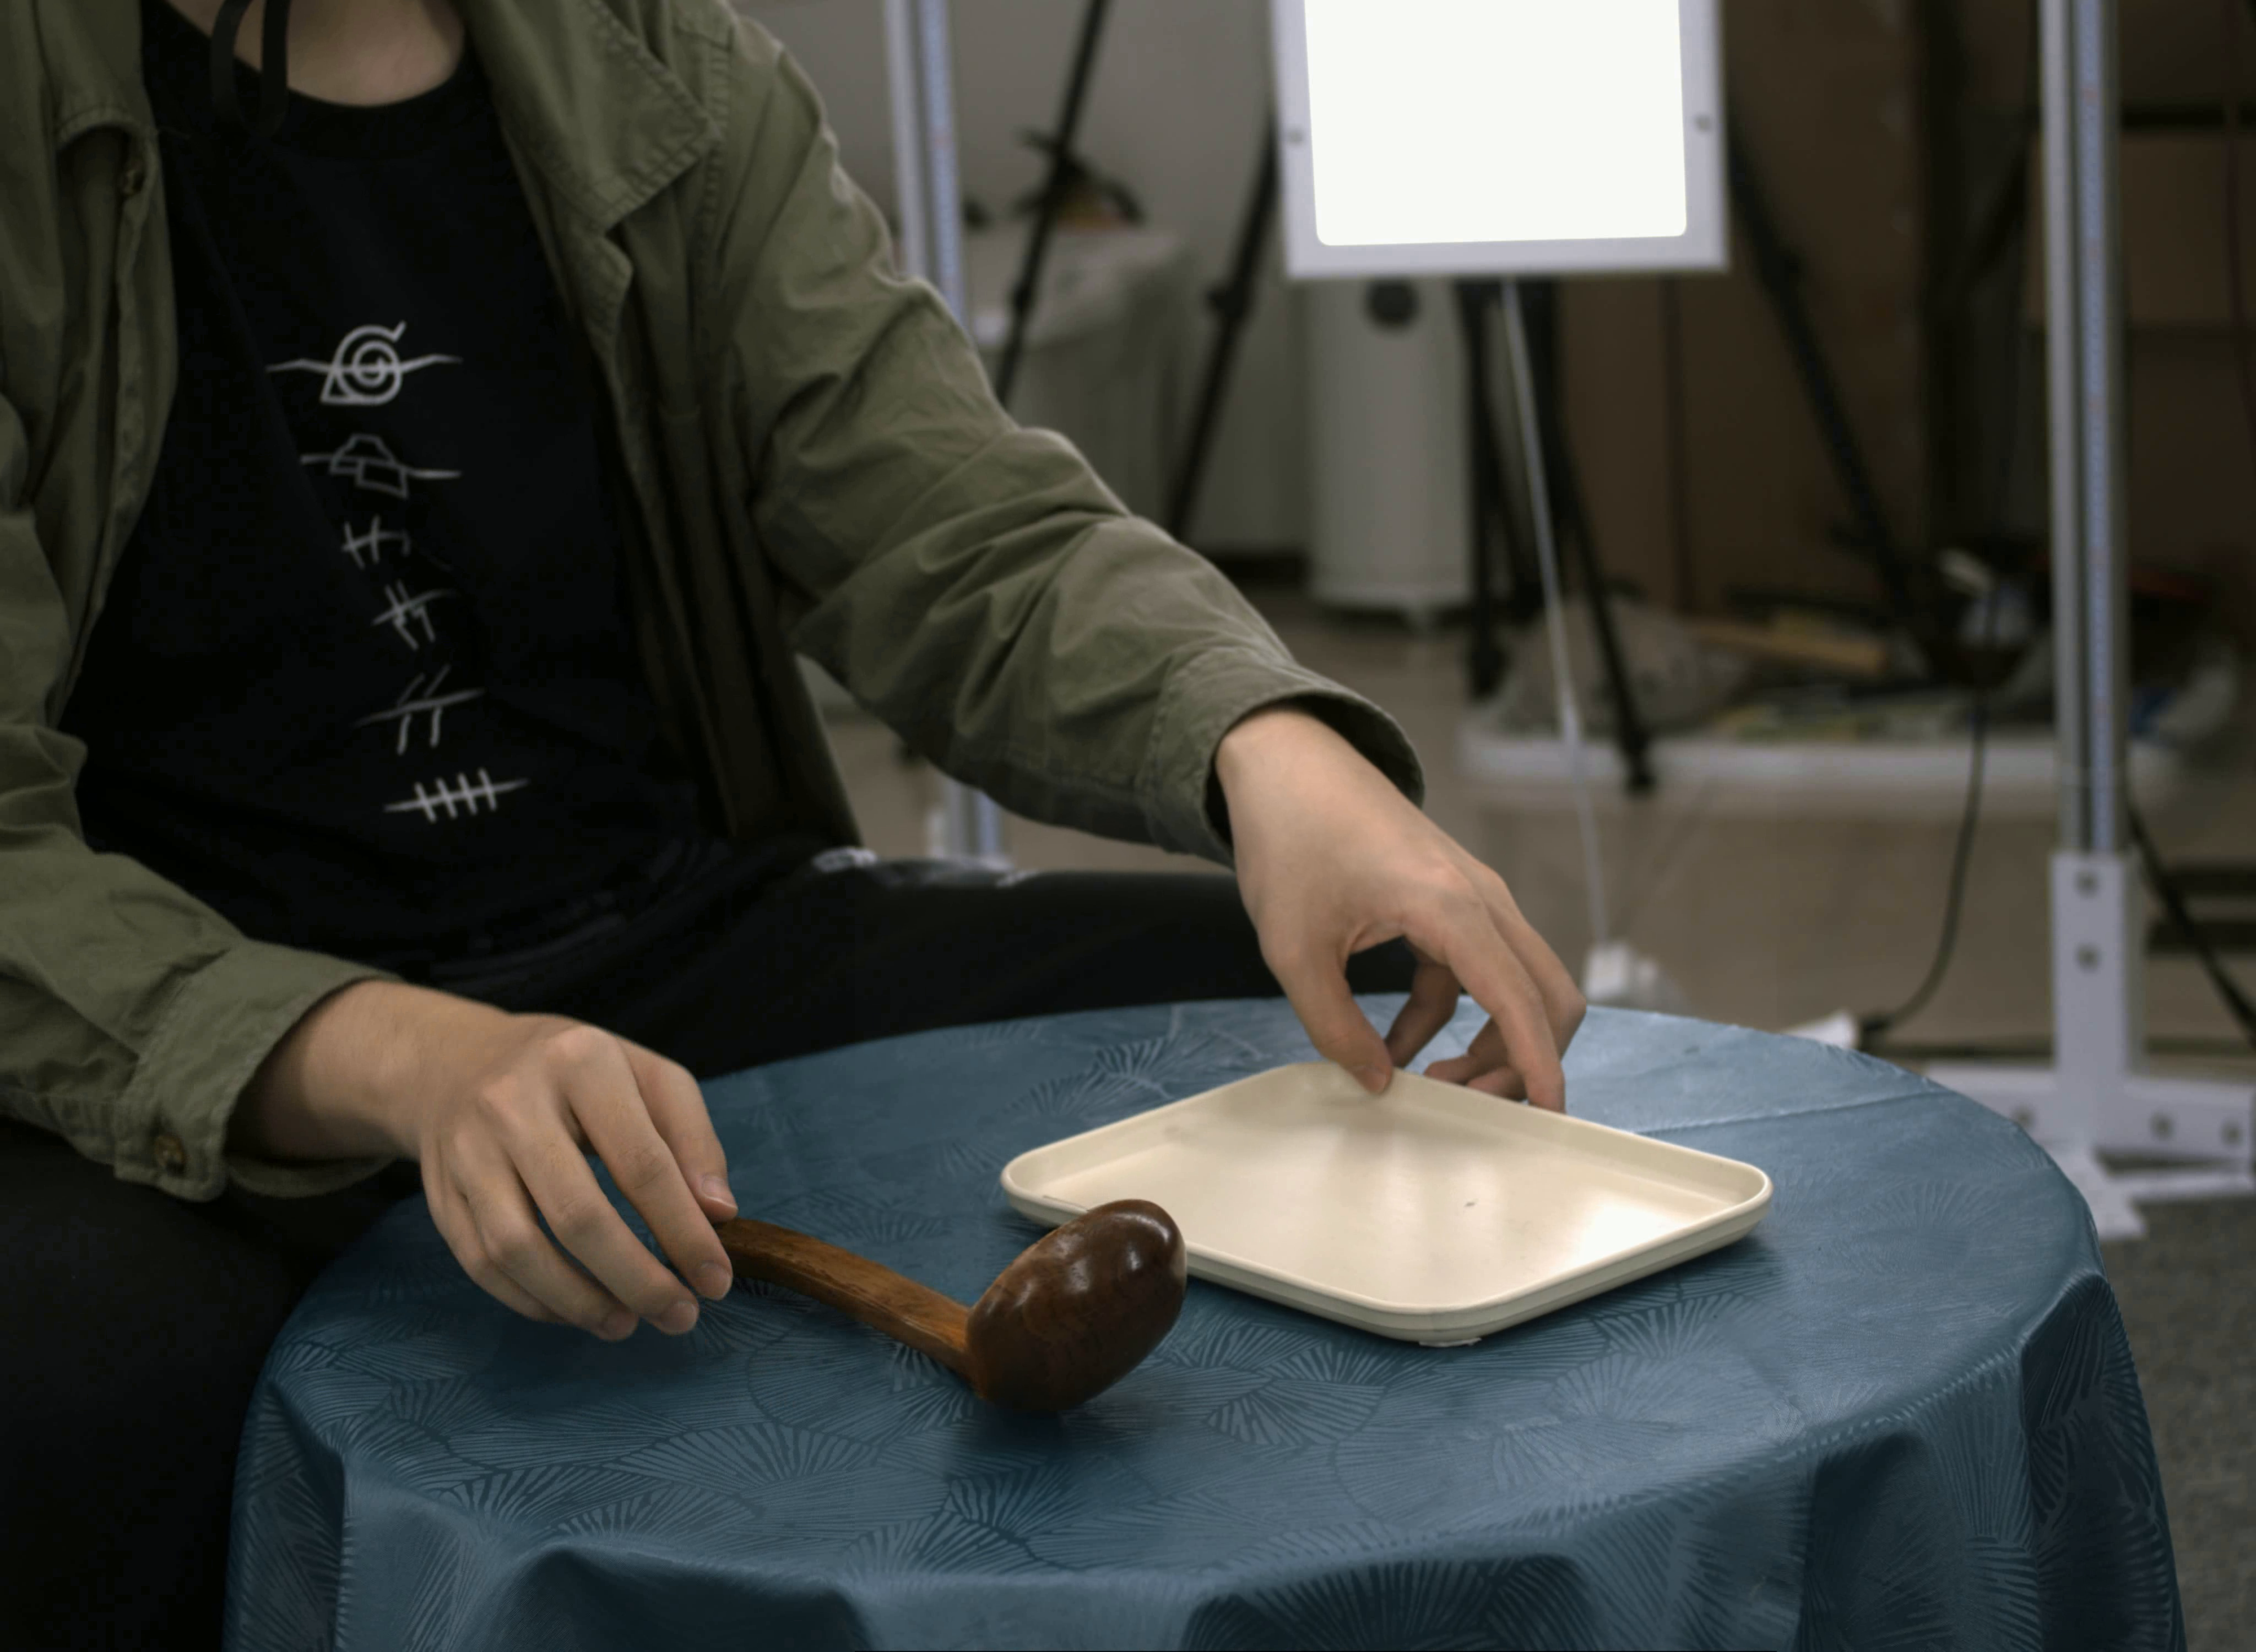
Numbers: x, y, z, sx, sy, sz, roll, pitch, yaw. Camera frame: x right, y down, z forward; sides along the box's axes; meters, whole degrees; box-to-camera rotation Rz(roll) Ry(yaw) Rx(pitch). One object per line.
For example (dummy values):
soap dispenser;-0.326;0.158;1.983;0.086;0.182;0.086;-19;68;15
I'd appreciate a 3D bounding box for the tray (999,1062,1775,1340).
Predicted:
tray;0.084;0.124;1.830;0.167;0.017;0.244;-16;18;-36

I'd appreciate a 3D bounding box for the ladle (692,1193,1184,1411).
ladle;-0.075;0.130;1.748;0.080;0.077;0.279;-18;18;-29
